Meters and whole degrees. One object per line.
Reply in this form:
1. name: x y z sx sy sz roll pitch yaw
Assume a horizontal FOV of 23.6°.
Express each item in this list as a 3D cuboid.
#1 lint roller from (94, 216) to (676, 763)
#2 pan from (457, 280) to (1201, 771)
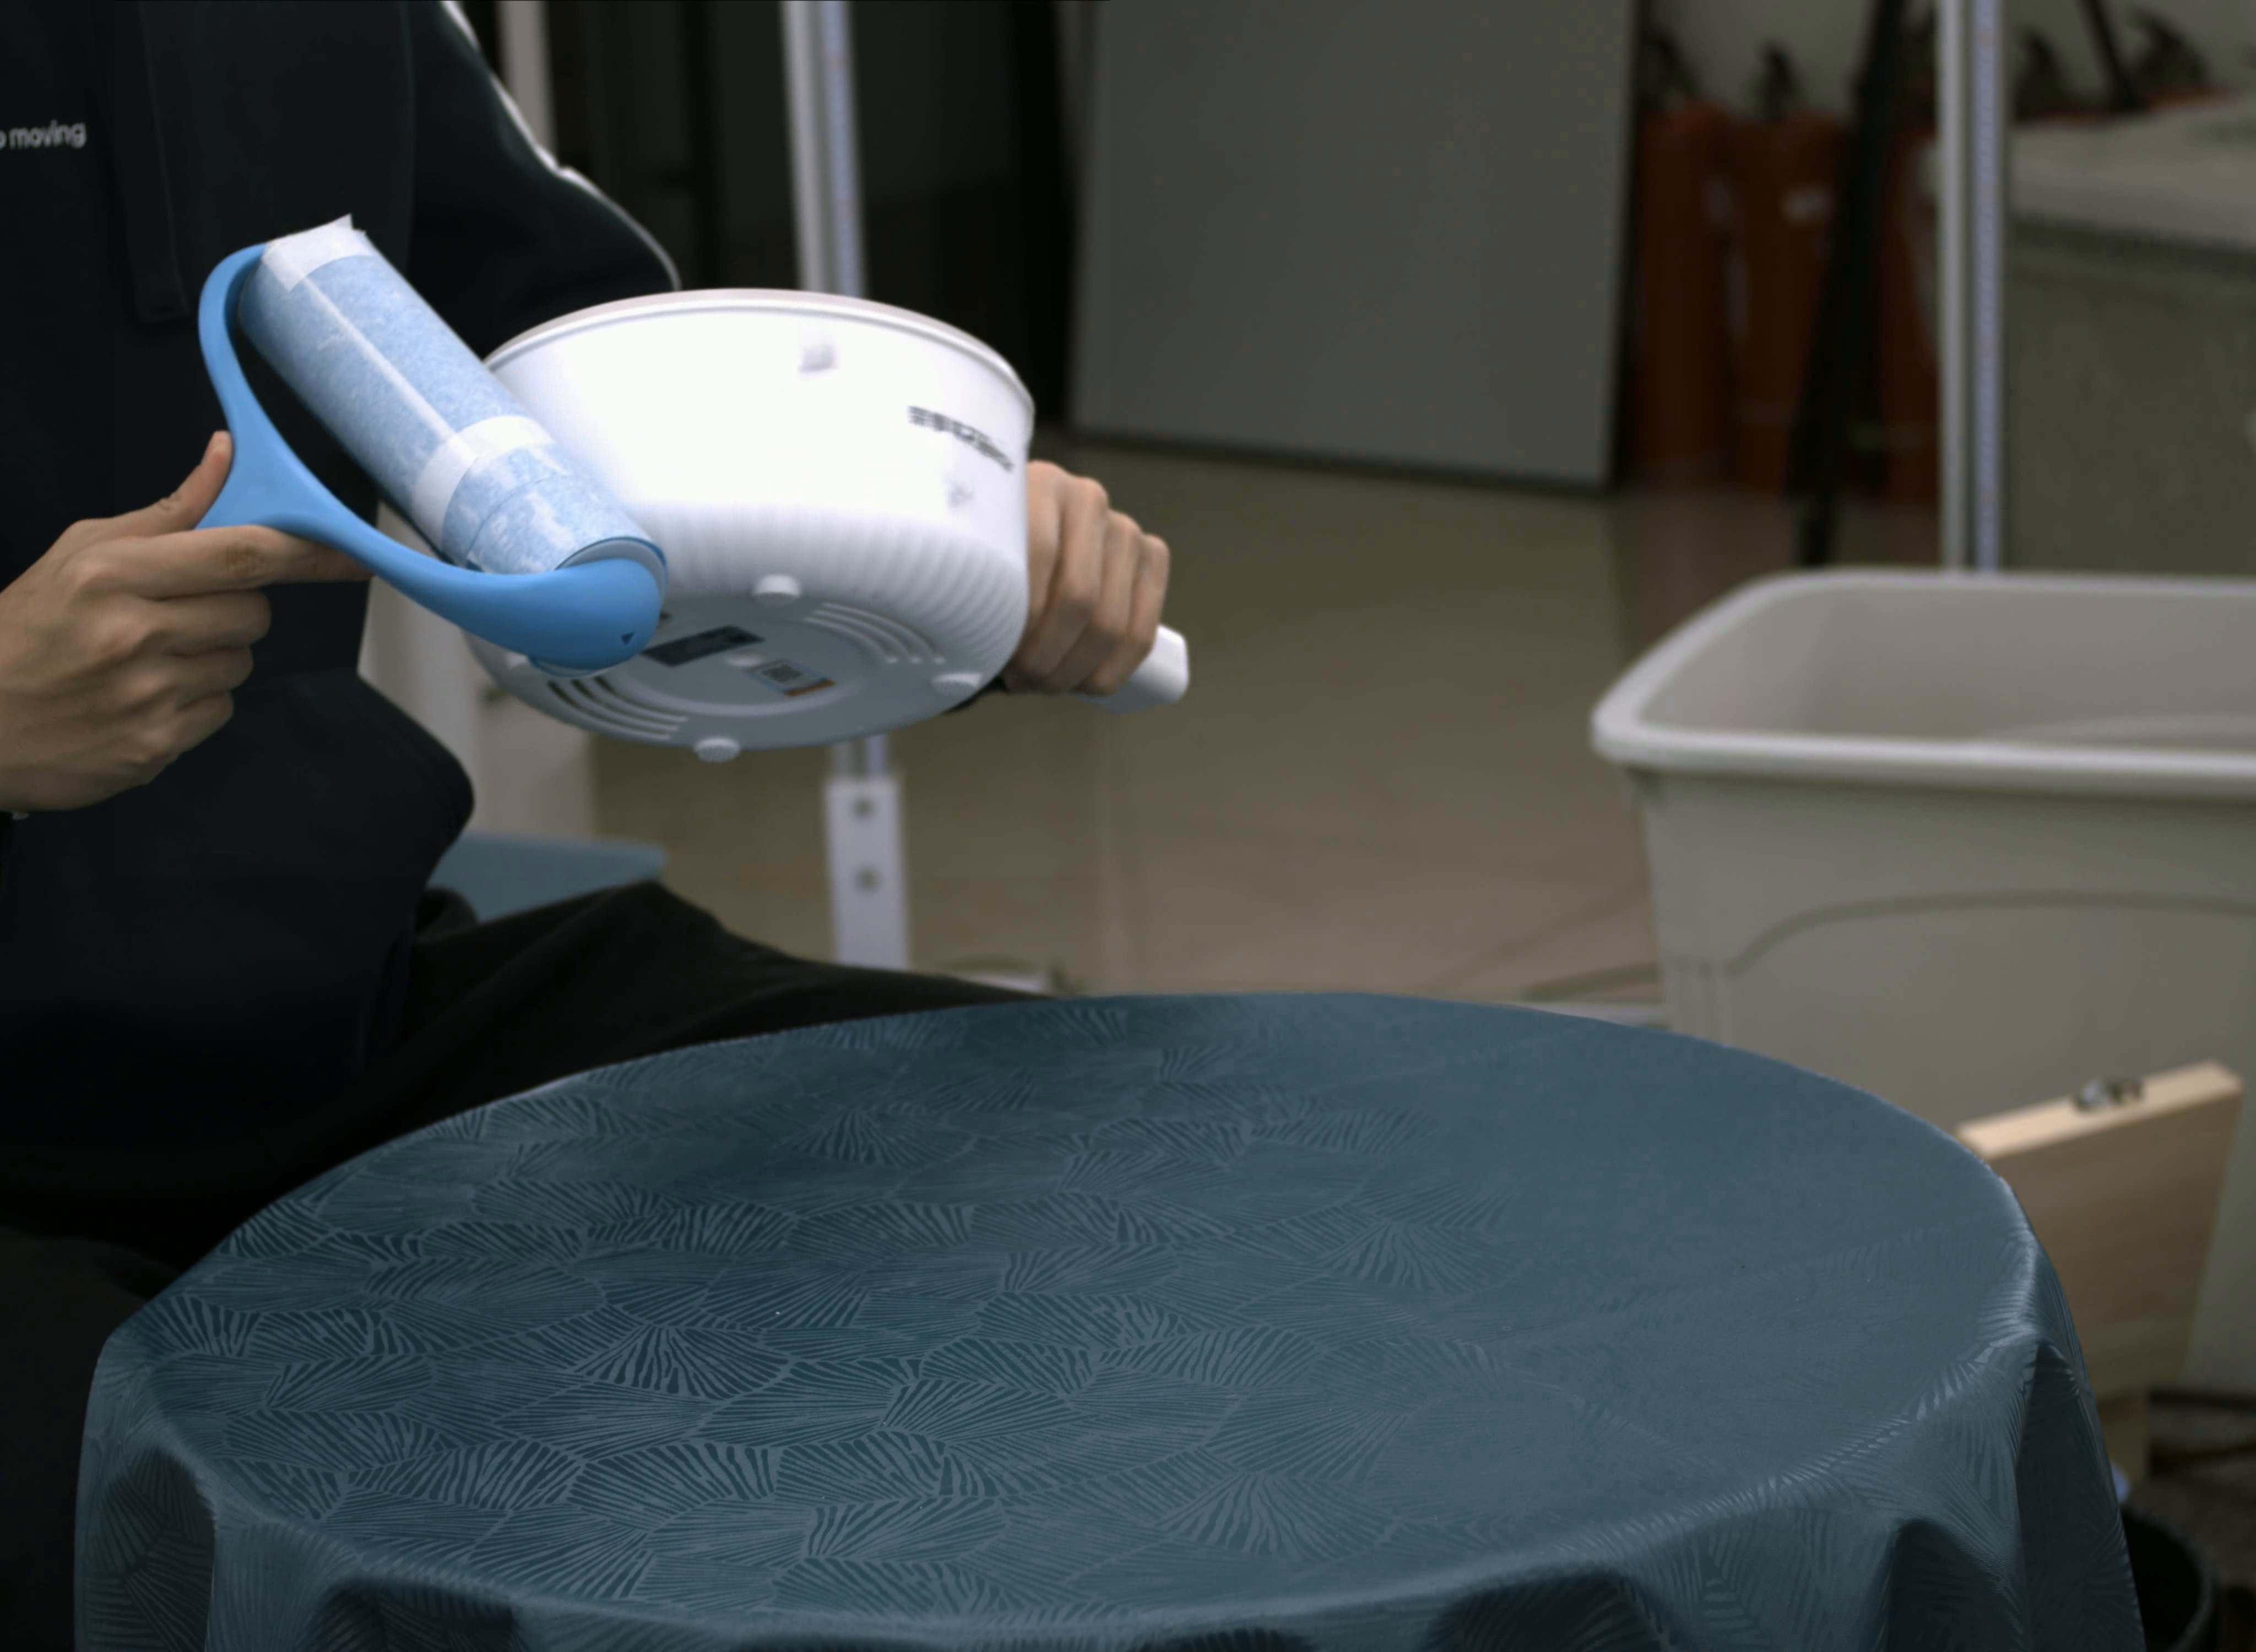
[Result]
1. lint roller: -0.263 -0.092 1.744 0.179 0.068 0.231 -38 53 -13
2. pan: -0.088 -0.073 1.898 0.202 0.103 0.348 -16 -26 32
